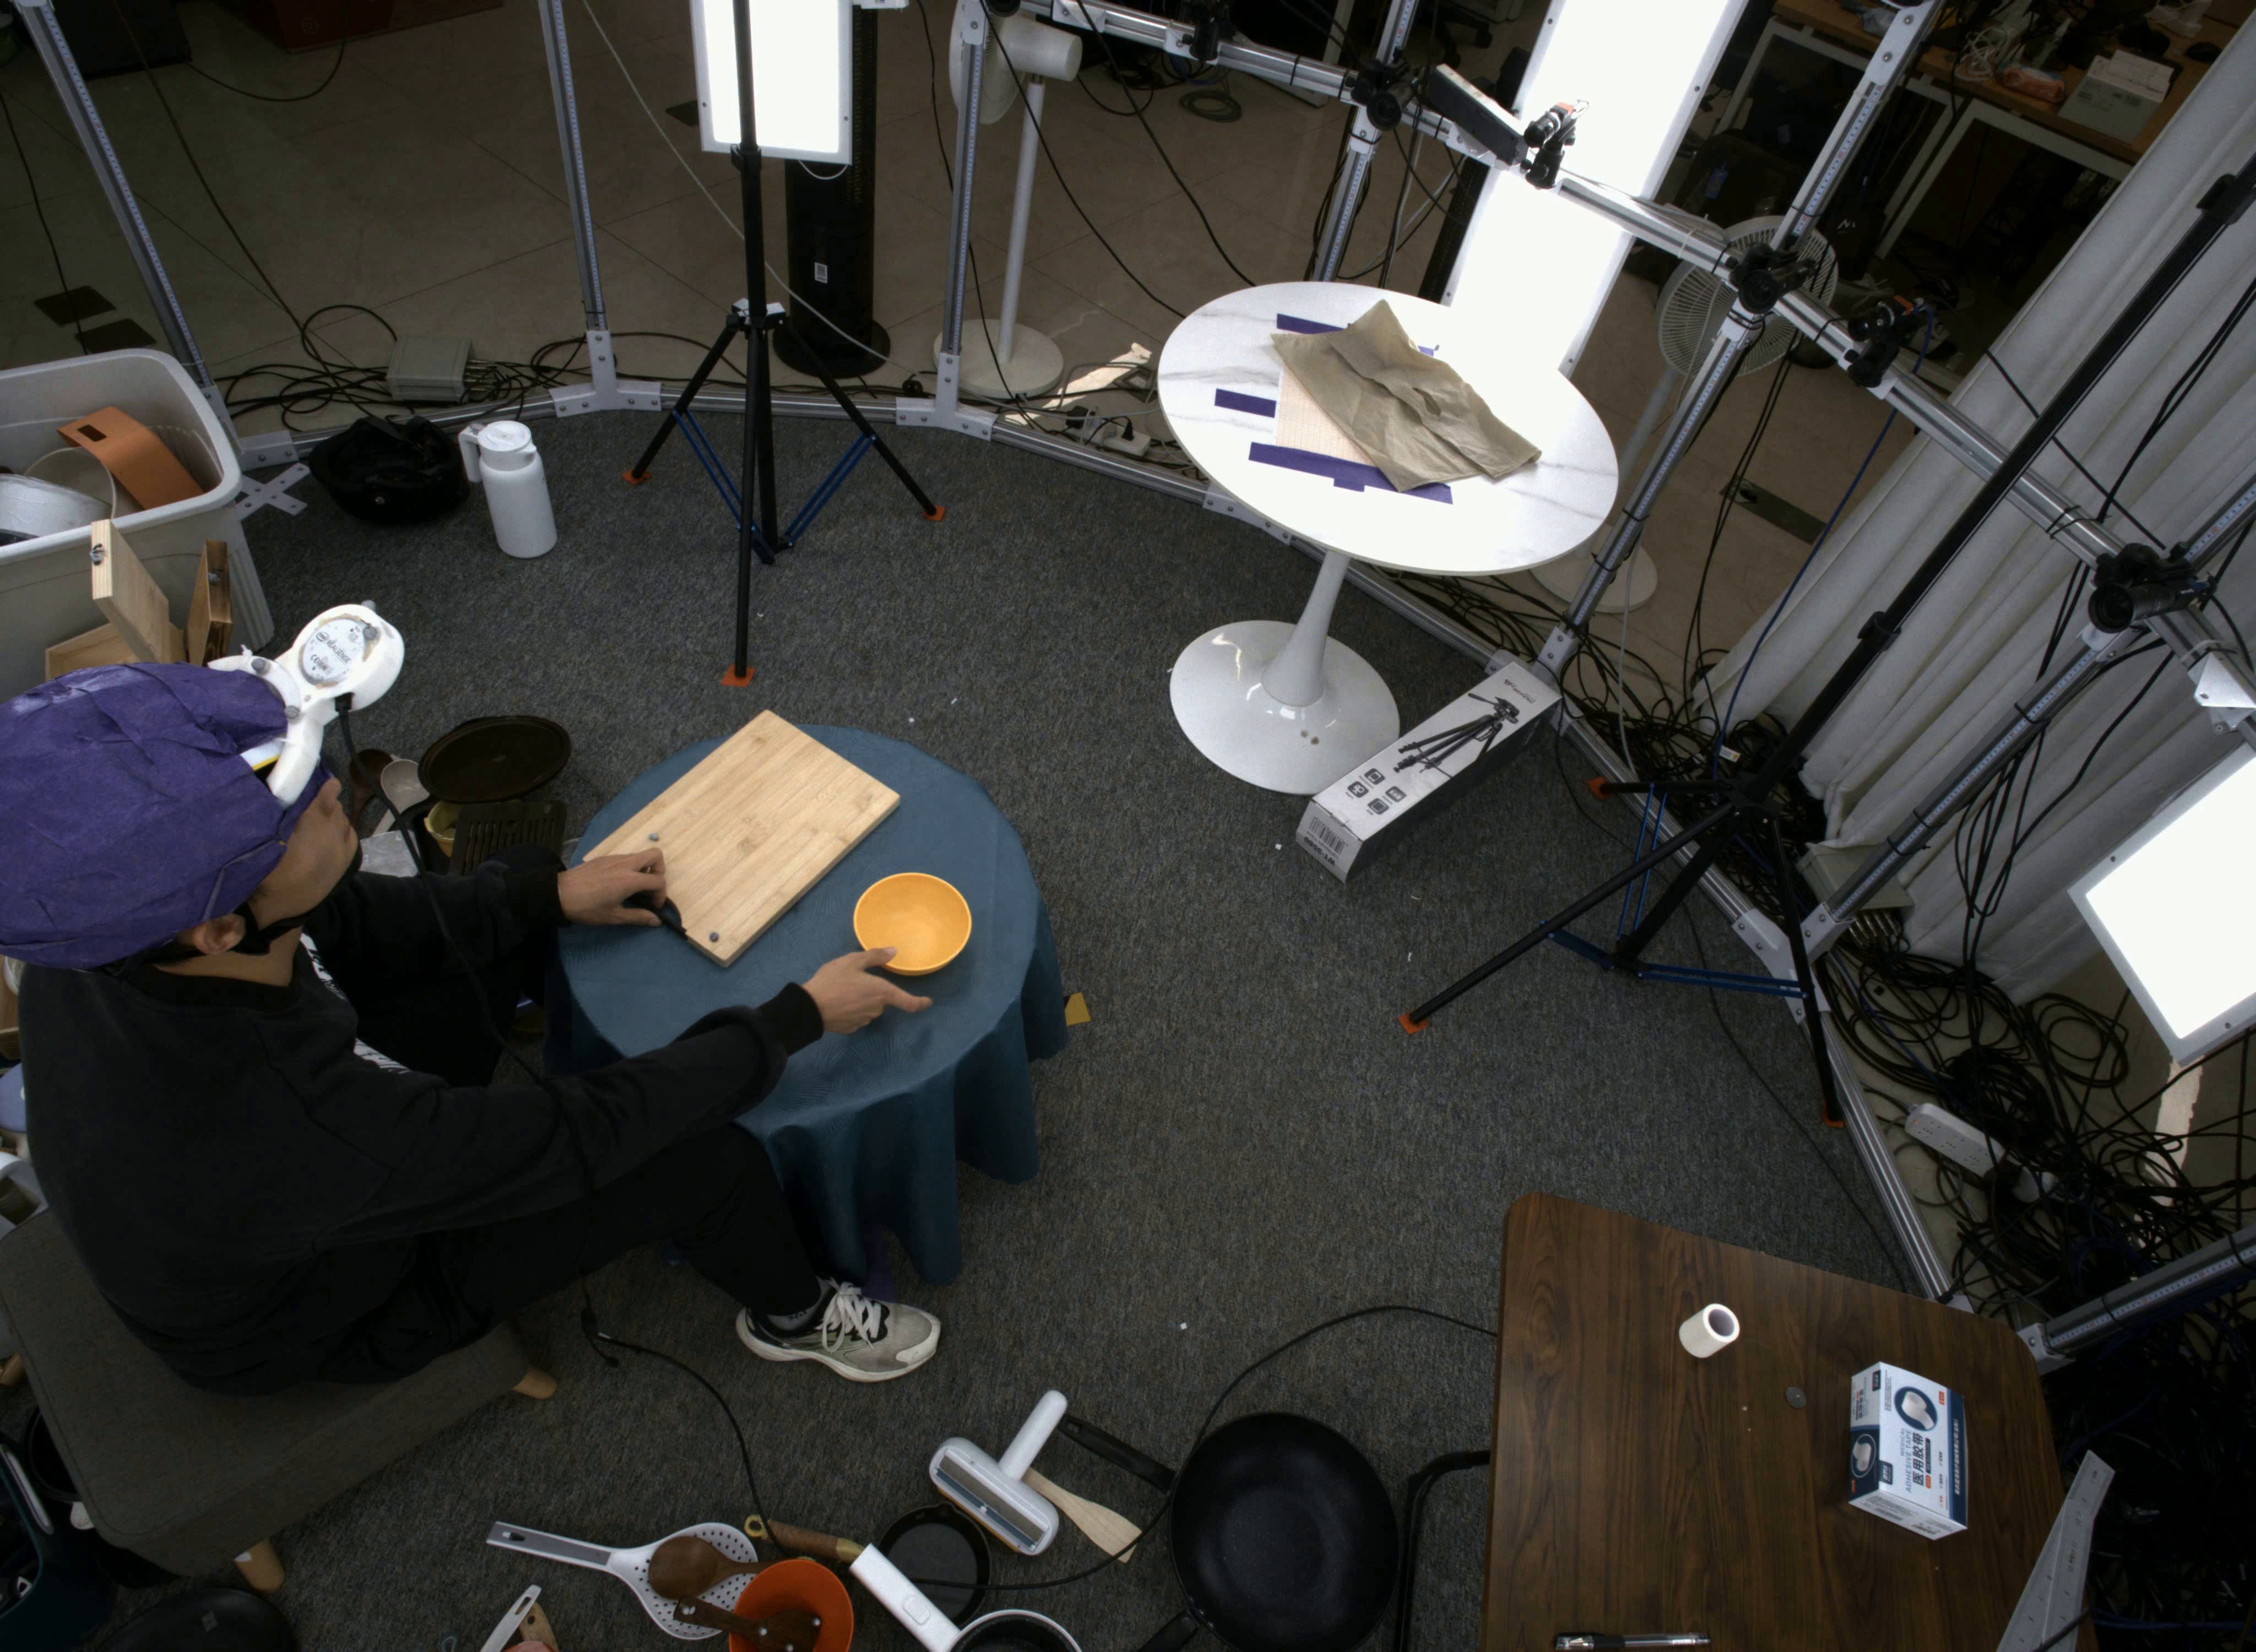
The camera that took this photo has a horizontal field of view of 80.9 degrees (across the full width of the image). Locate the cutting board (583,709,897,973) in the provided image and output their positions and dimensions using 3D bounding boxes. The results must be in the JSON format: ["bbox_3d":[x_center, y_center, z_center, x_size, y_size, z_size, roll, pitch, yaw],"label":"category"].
[{"bbox_3d":[-0.503,0.008,1.692,0.246,0.024,0.348,32,53,10],"label":"cutting board"}]

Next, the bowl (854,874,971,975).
[{"bbox_3d":[-0.269,0.133,1.634,0.144,0.061,0.142,6,52,-6],"label":"bowl"}]
